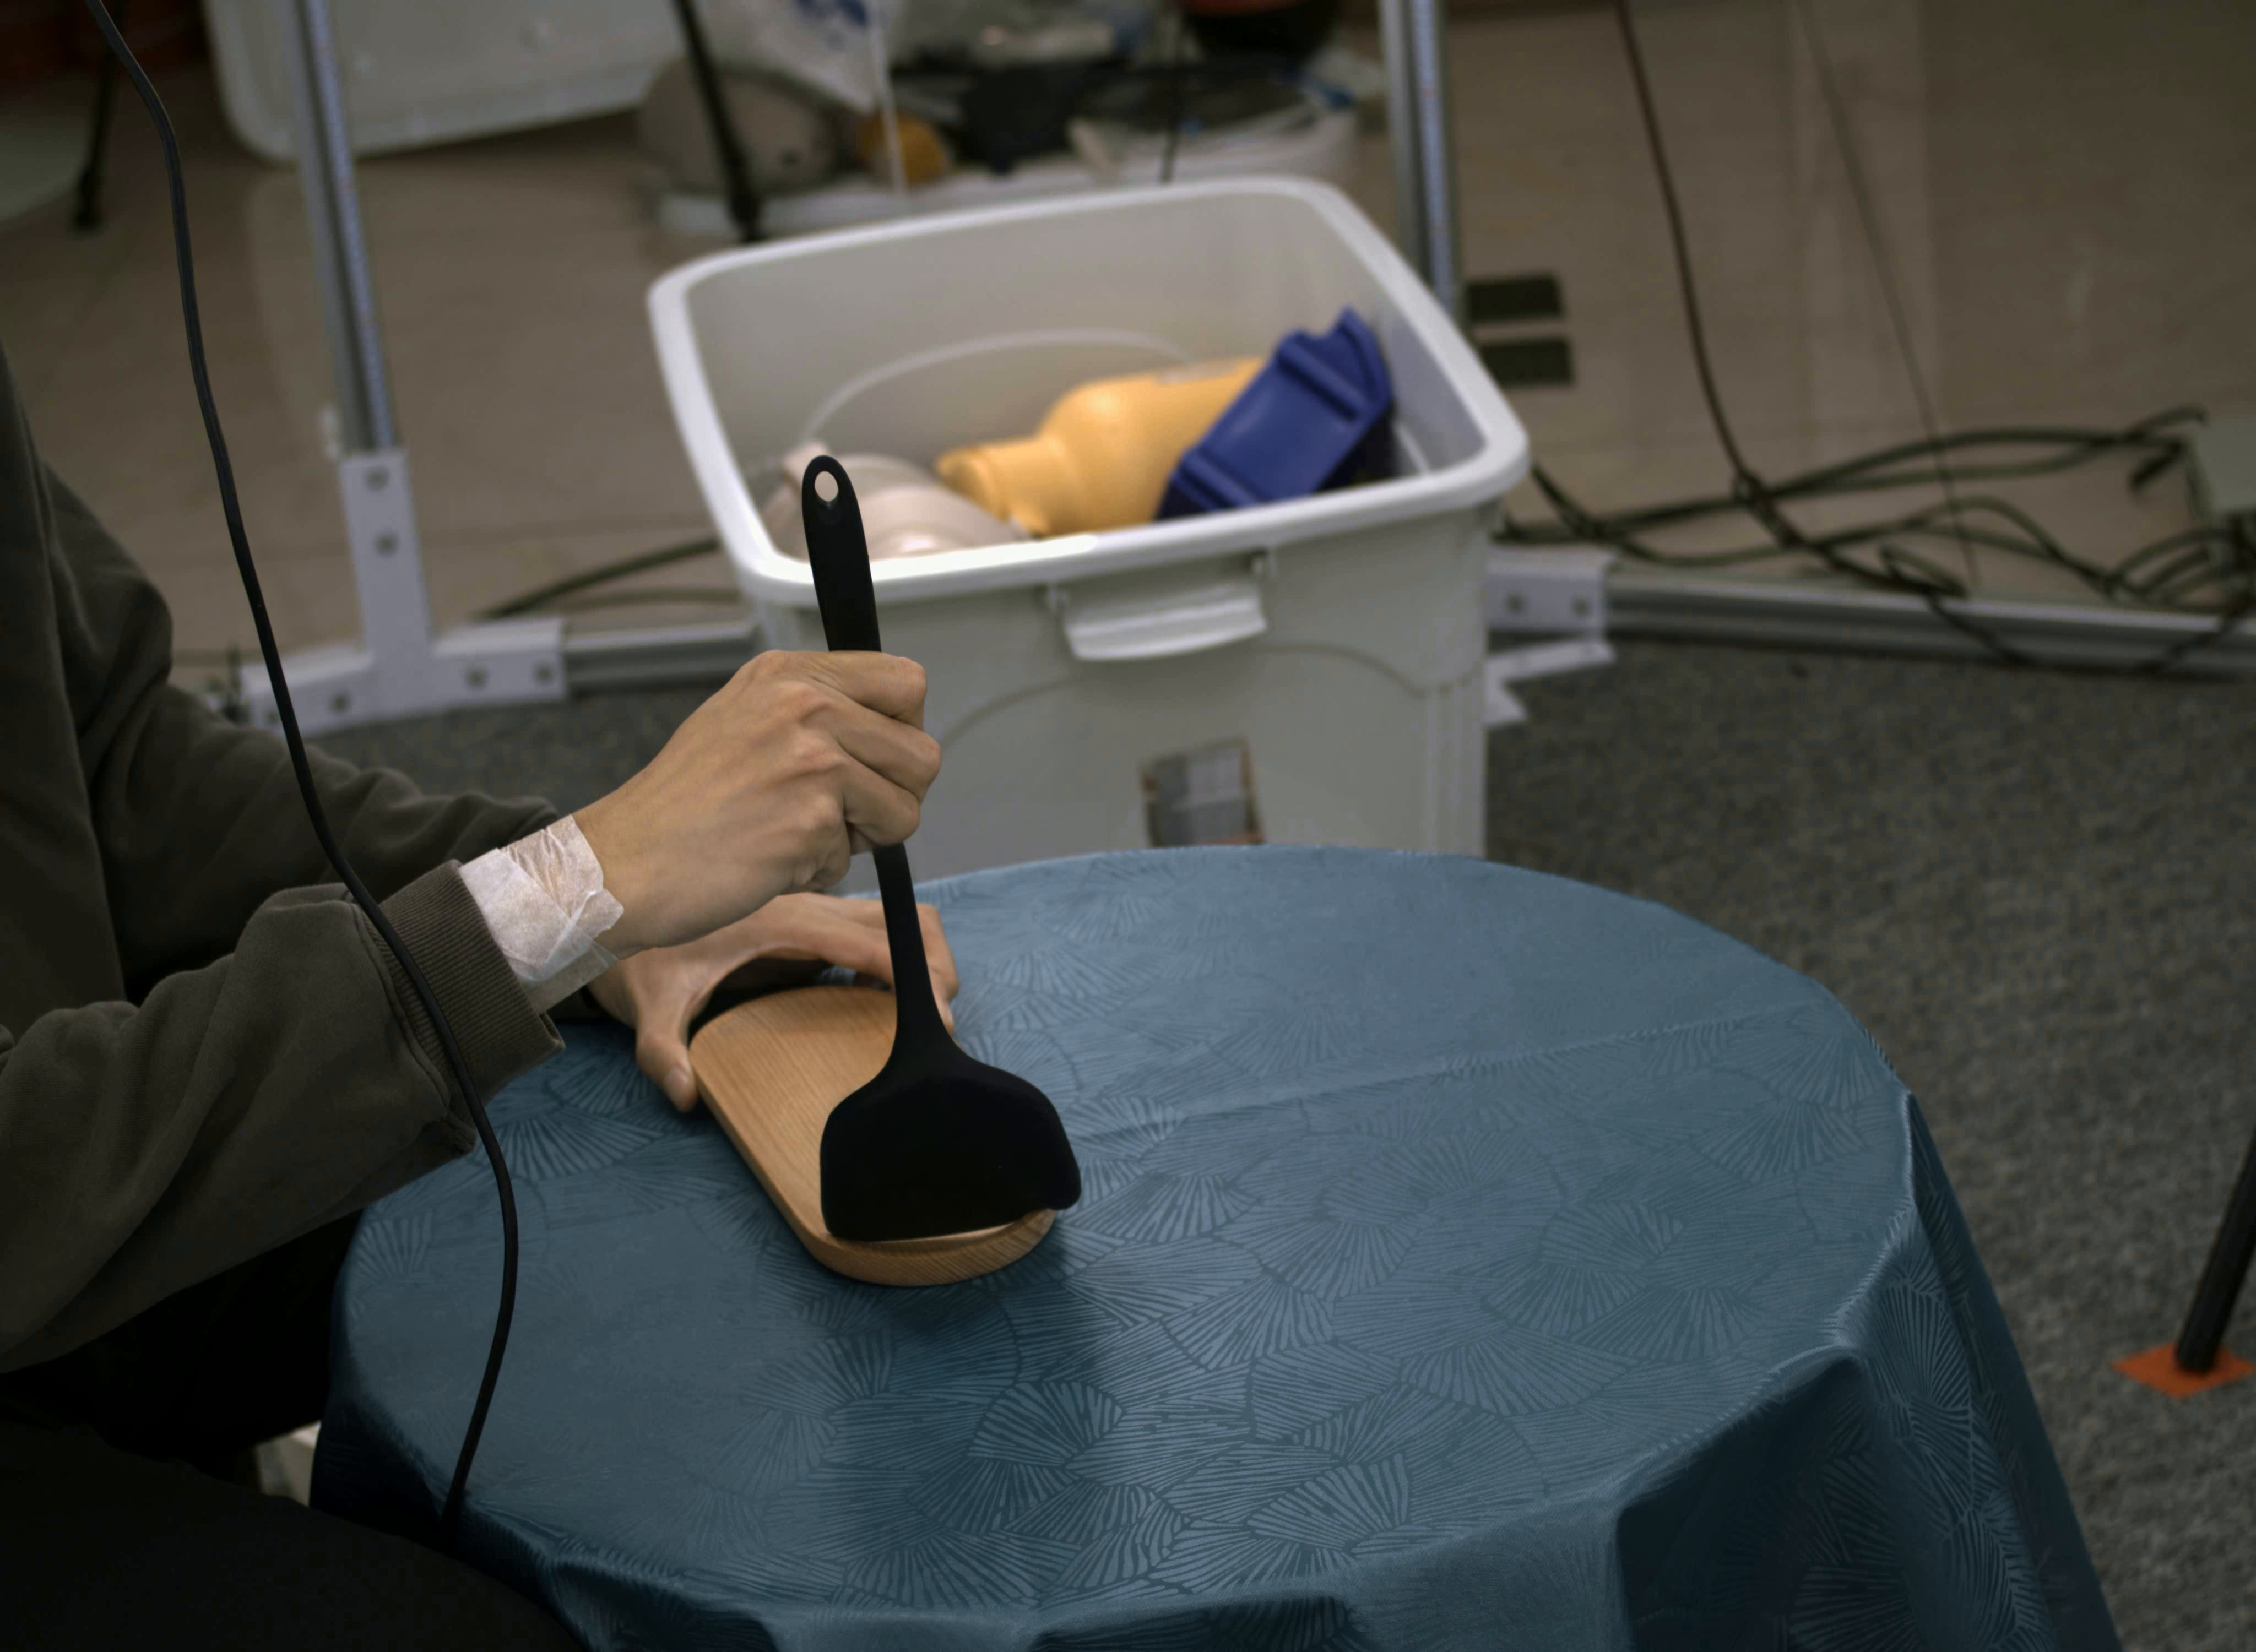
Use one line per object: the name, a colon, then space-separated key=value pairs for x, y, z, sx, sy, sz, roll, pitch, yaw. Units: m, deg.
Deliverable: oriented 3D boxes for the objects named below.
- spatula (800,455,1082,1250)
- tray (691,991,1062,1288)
spatula: x=-0.084 y=0.014 z=2.024 sx=0.099 sy=0.331 sz=0.040 roll=-9 pitch=26 yaw=-1
tray: x=-0.099 y=0.119 z=2.188 sx=0.101 sy=0.020 sz=0.228 roll=-13 pitch=29 yaw=-17
